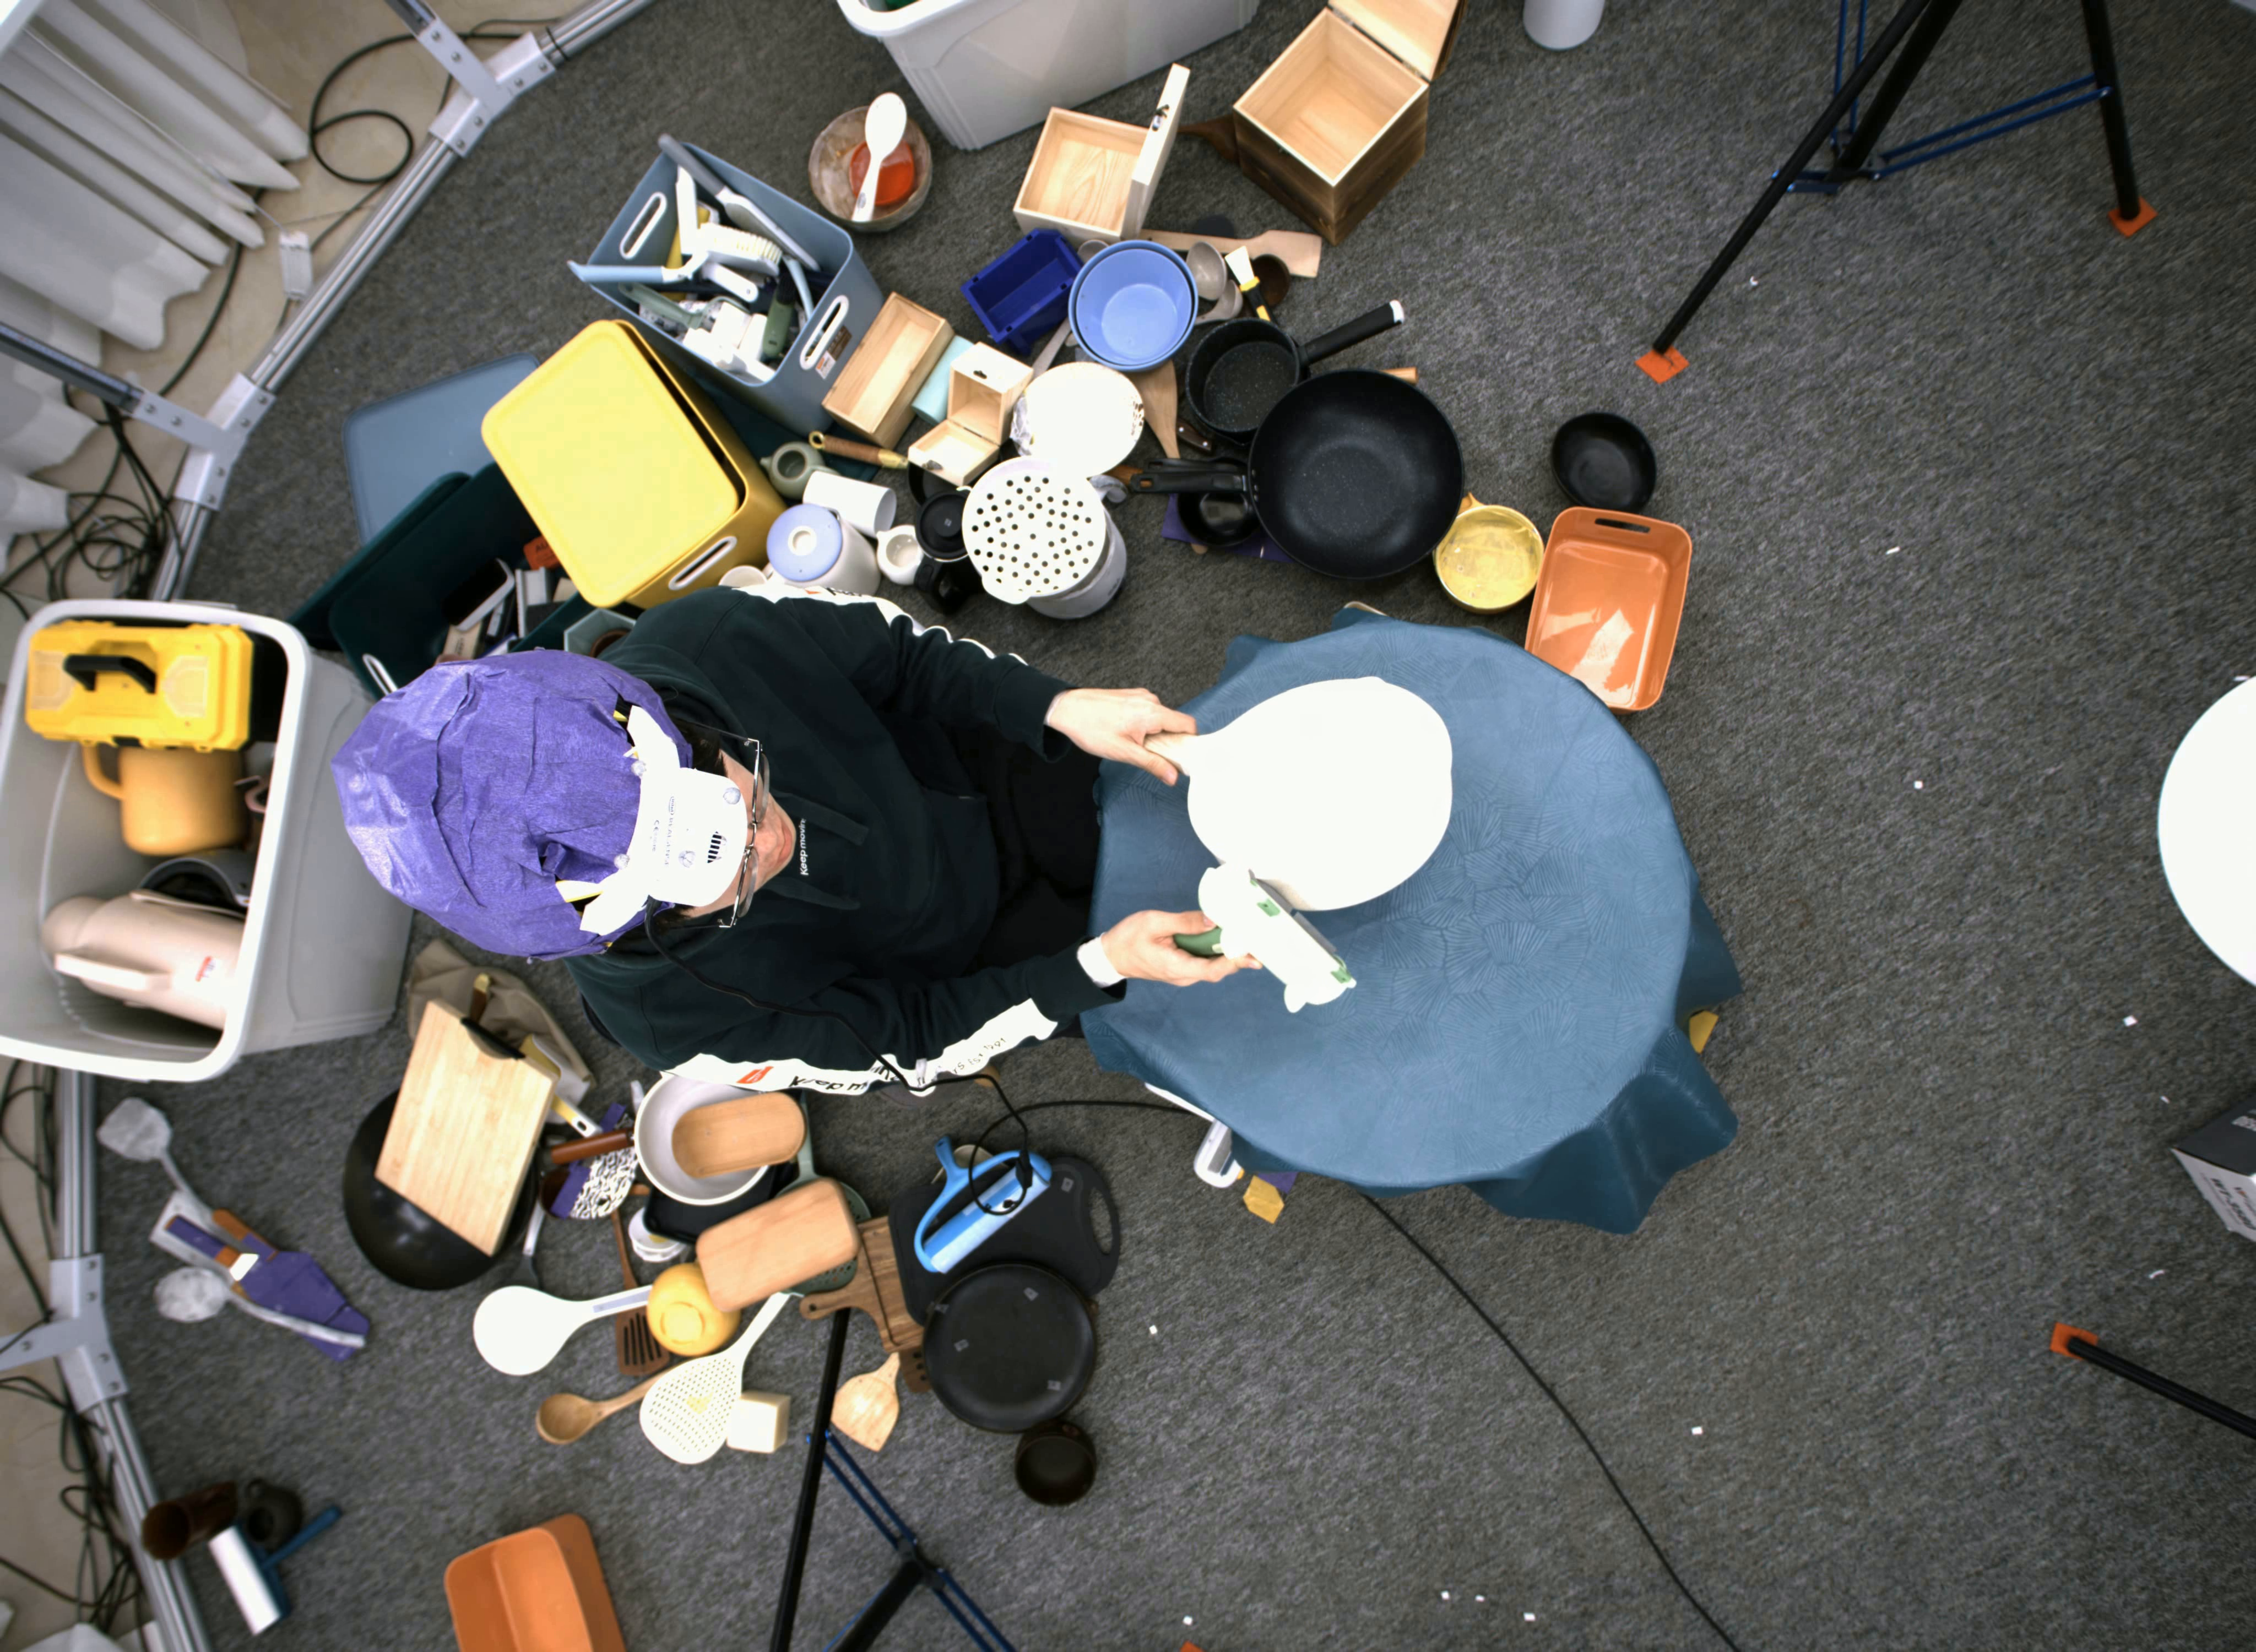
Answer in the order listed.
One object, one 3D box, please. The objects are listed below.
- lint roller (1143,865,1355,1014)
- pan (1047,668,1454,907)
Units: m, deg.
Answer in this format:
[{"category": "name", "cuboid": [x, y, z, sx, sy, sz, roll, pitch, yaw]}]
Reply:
[{"category": "lint roller", "cuboid": [0.087, 0.117, 1.284, 0.185, 0.201, 0.080, -13, 53, 33]}, {"category": "pan", "cuboid": [0.113, -0.051, 1.356, 0.435, 0.104, 0.258, 12, 60, 35]}]
